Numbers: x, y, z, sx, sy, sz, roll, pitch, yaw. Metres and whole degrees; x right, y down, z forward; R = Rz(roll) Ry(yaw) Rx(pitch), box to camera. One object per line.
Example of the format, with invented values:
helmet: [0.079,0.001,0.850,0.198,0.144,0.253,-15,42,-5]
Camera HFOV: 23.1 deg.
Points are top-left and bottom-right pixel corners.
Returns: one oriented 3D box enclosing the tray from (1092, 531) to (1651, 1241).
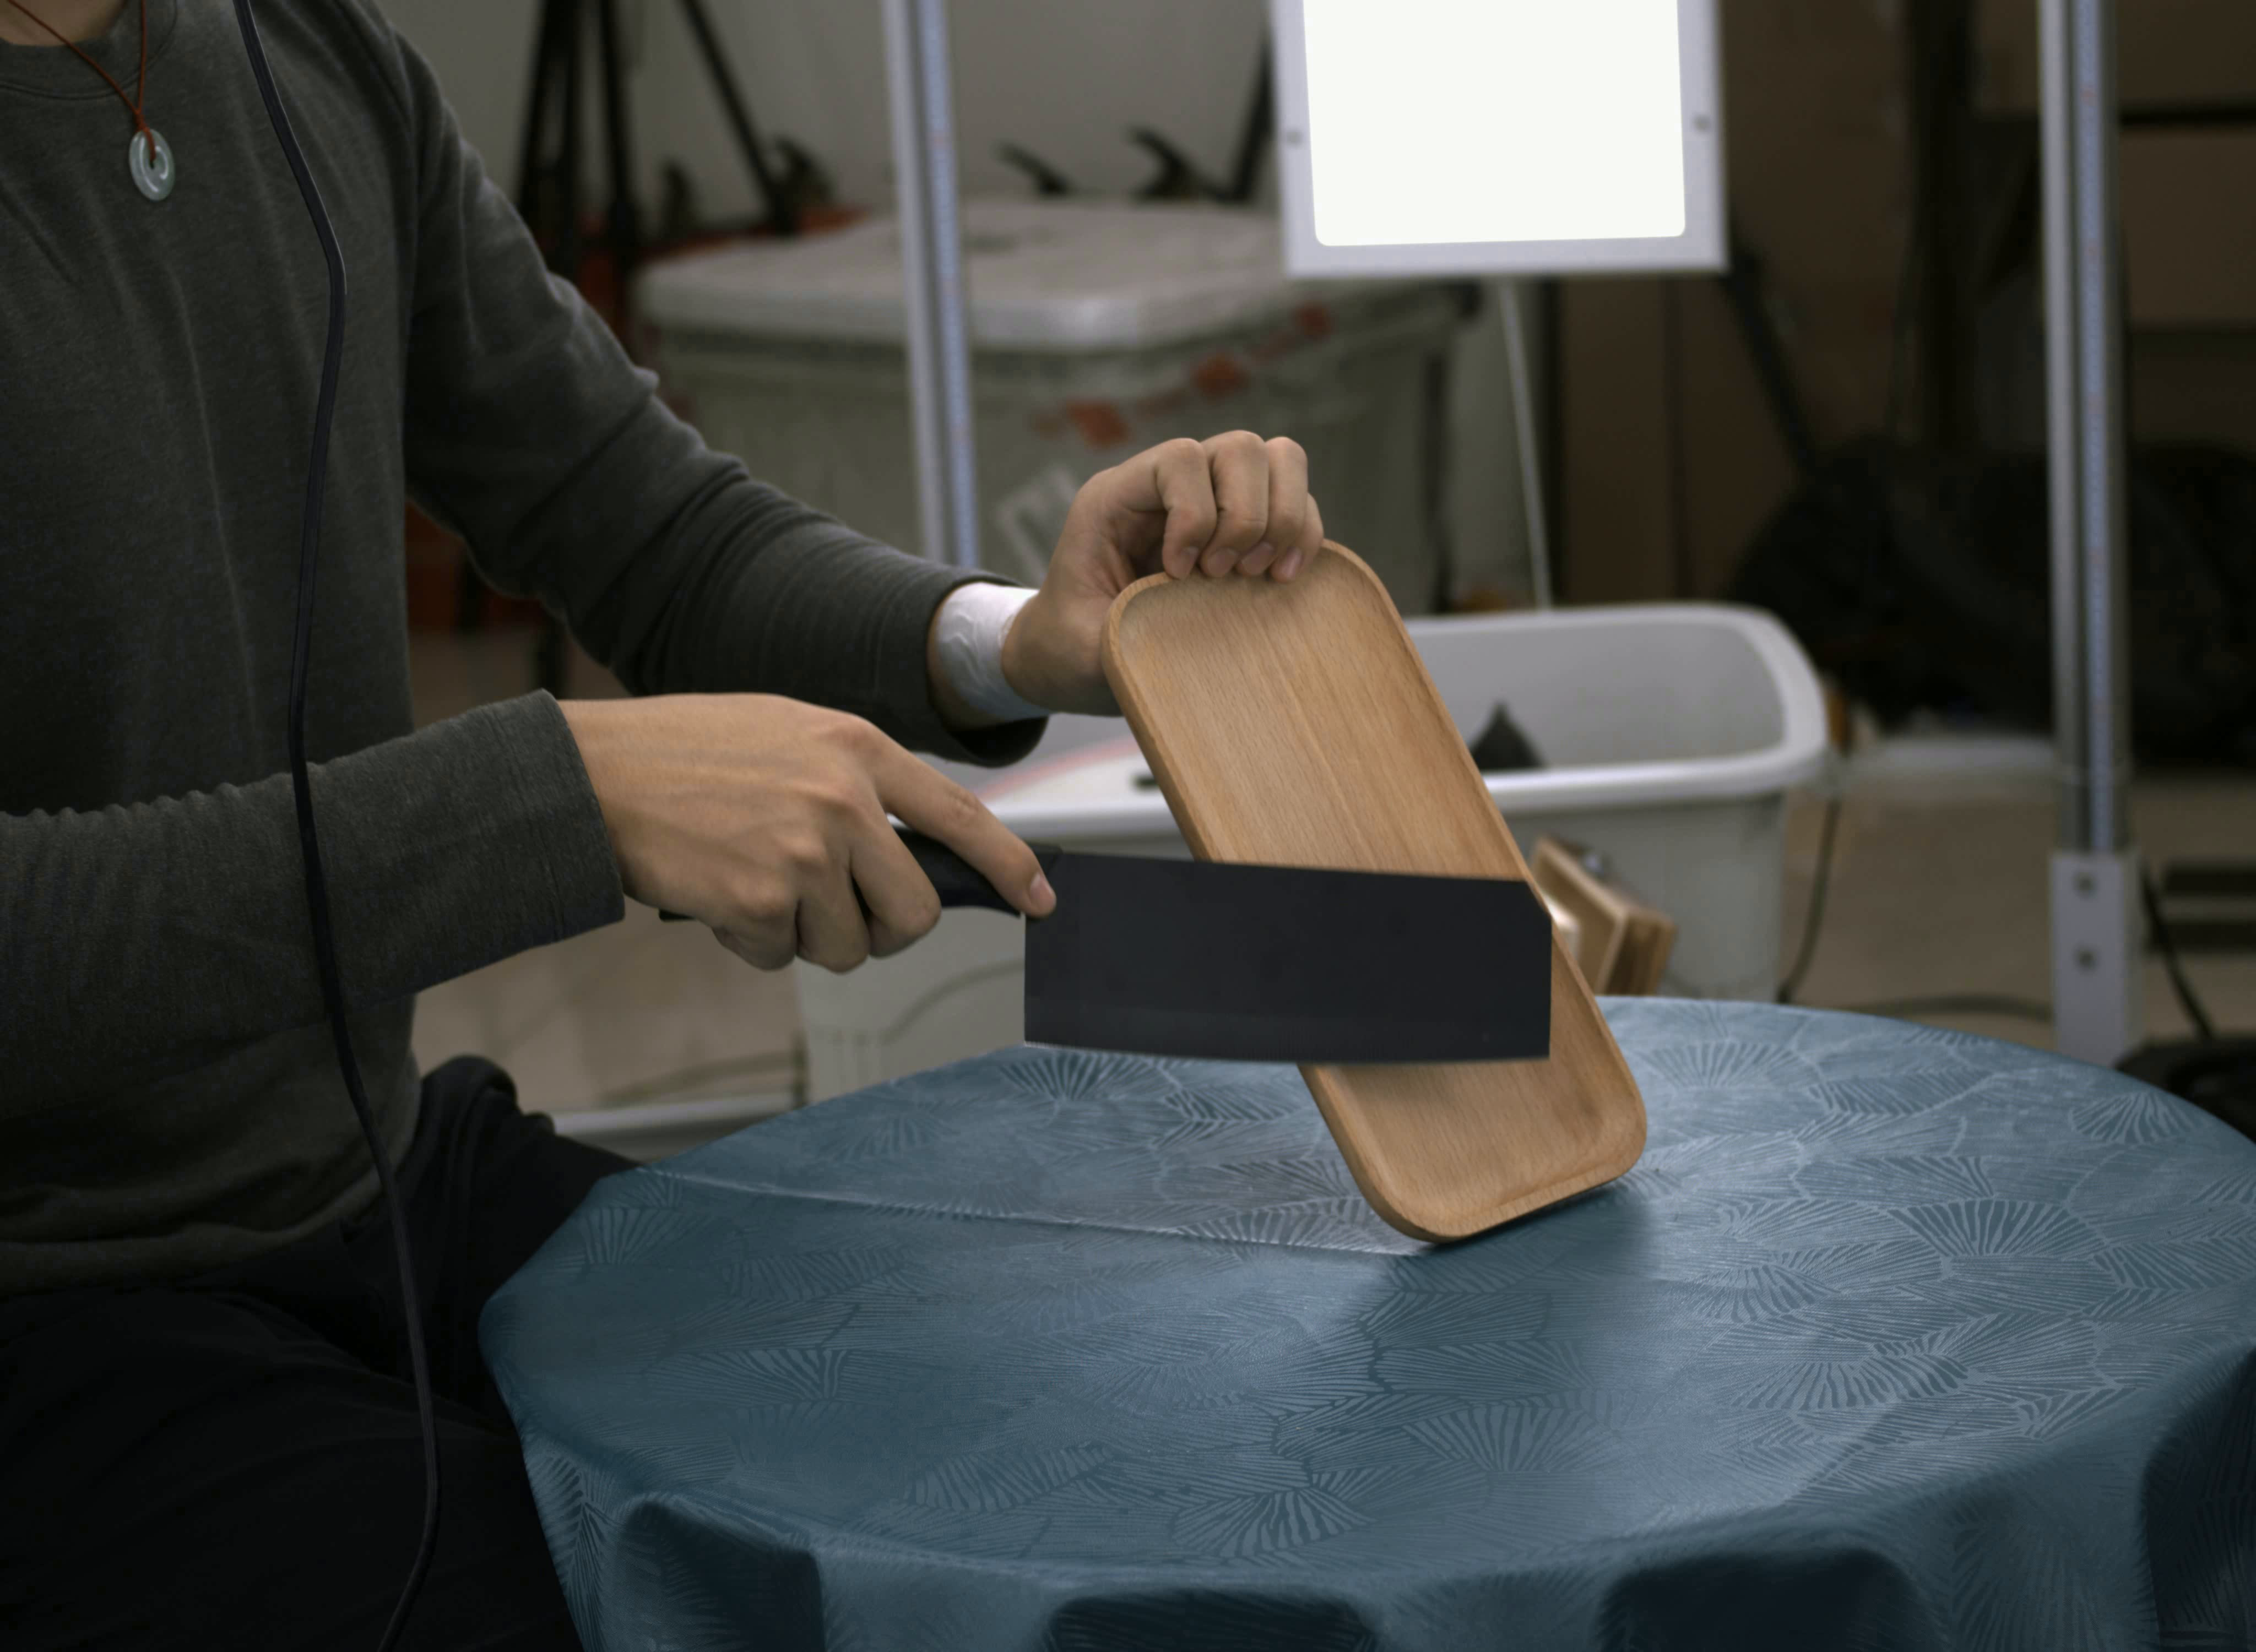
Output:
tray: [0.082,0.018,1.865,0.127,0.252,0.023,-16,-17,-37]

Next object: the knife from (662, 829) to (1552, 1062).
knife: [-0.003,0.039,1.806,0.299,0.081,0.021,8,-14,-10]
